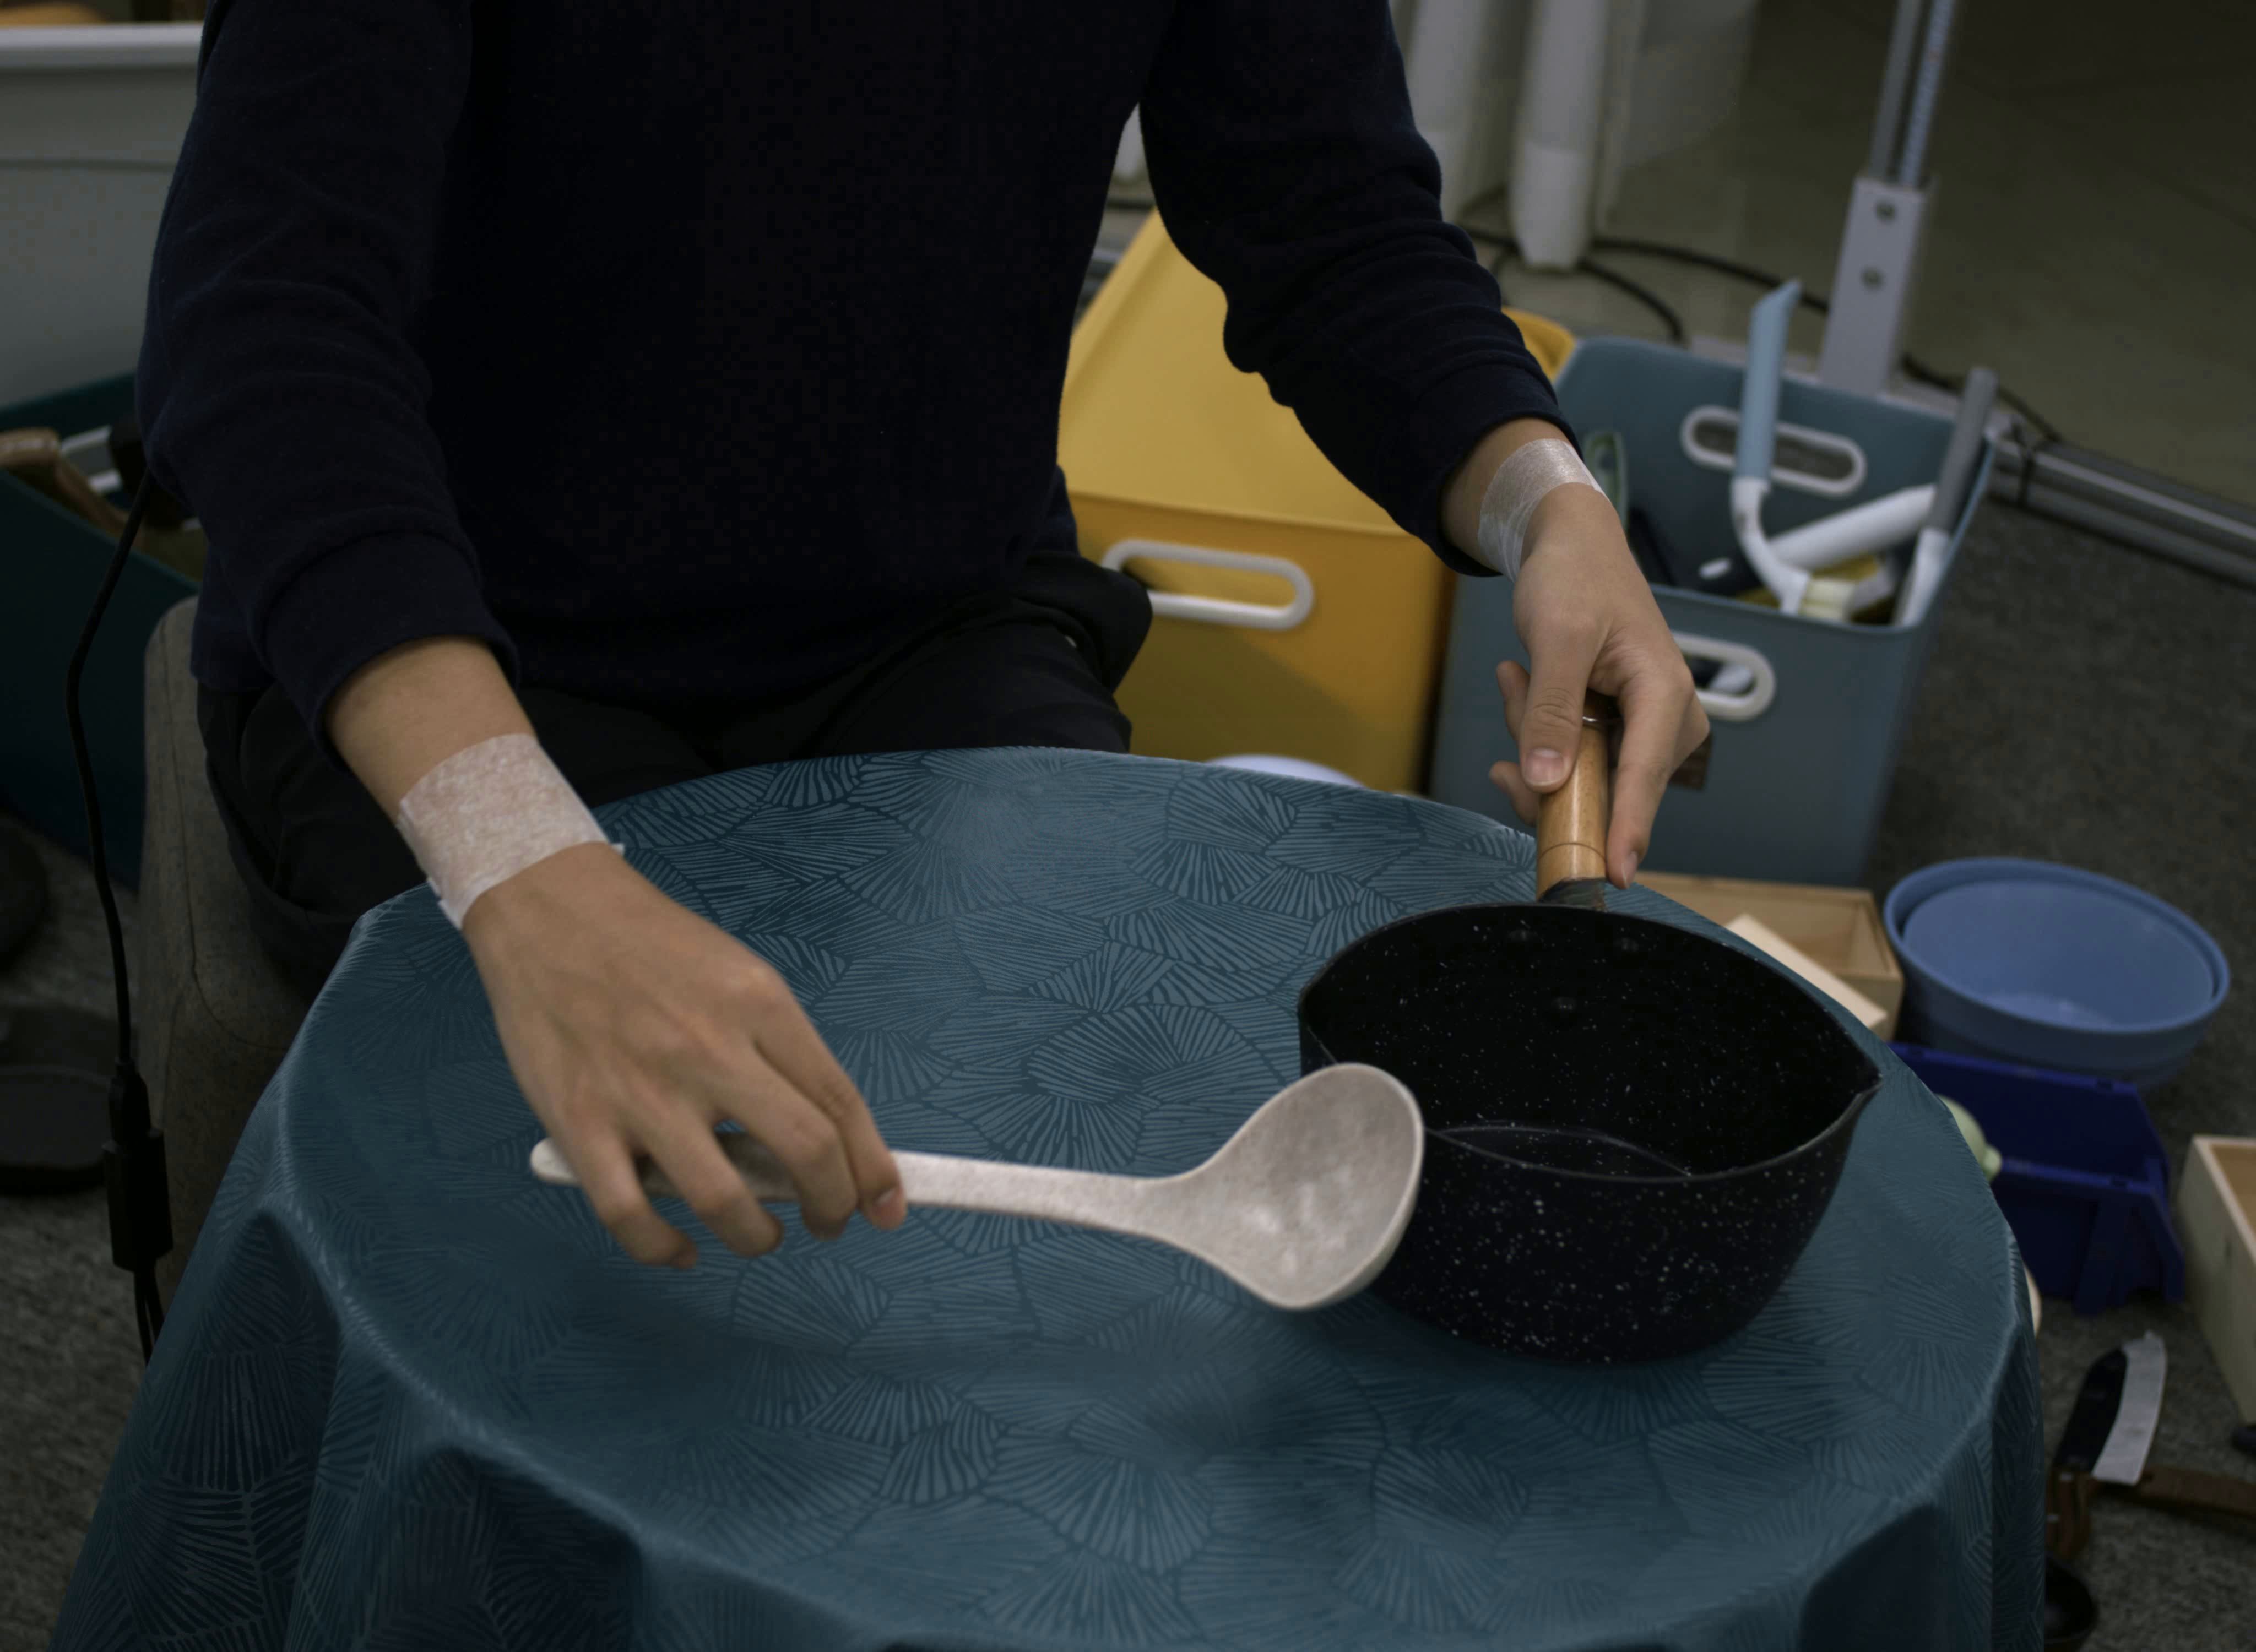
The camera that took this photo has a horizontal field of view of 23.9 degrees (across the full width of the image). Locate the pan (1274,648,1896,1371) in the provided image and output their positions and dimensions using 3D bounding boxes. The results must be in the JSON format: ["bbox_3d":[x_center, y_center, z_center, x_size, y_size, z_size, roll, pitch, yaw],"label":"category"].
[{"bbox_3d":[0.151,0.059,1.844,0.207,0.108,0.345,5,28,-1],"label":"pan"}]

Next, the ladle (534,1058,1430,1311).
[{"bbox_3d":[-0.043,0.099,1.649,0.273,0.069,0.090,7,52,-11],"label":"ladle"}]
